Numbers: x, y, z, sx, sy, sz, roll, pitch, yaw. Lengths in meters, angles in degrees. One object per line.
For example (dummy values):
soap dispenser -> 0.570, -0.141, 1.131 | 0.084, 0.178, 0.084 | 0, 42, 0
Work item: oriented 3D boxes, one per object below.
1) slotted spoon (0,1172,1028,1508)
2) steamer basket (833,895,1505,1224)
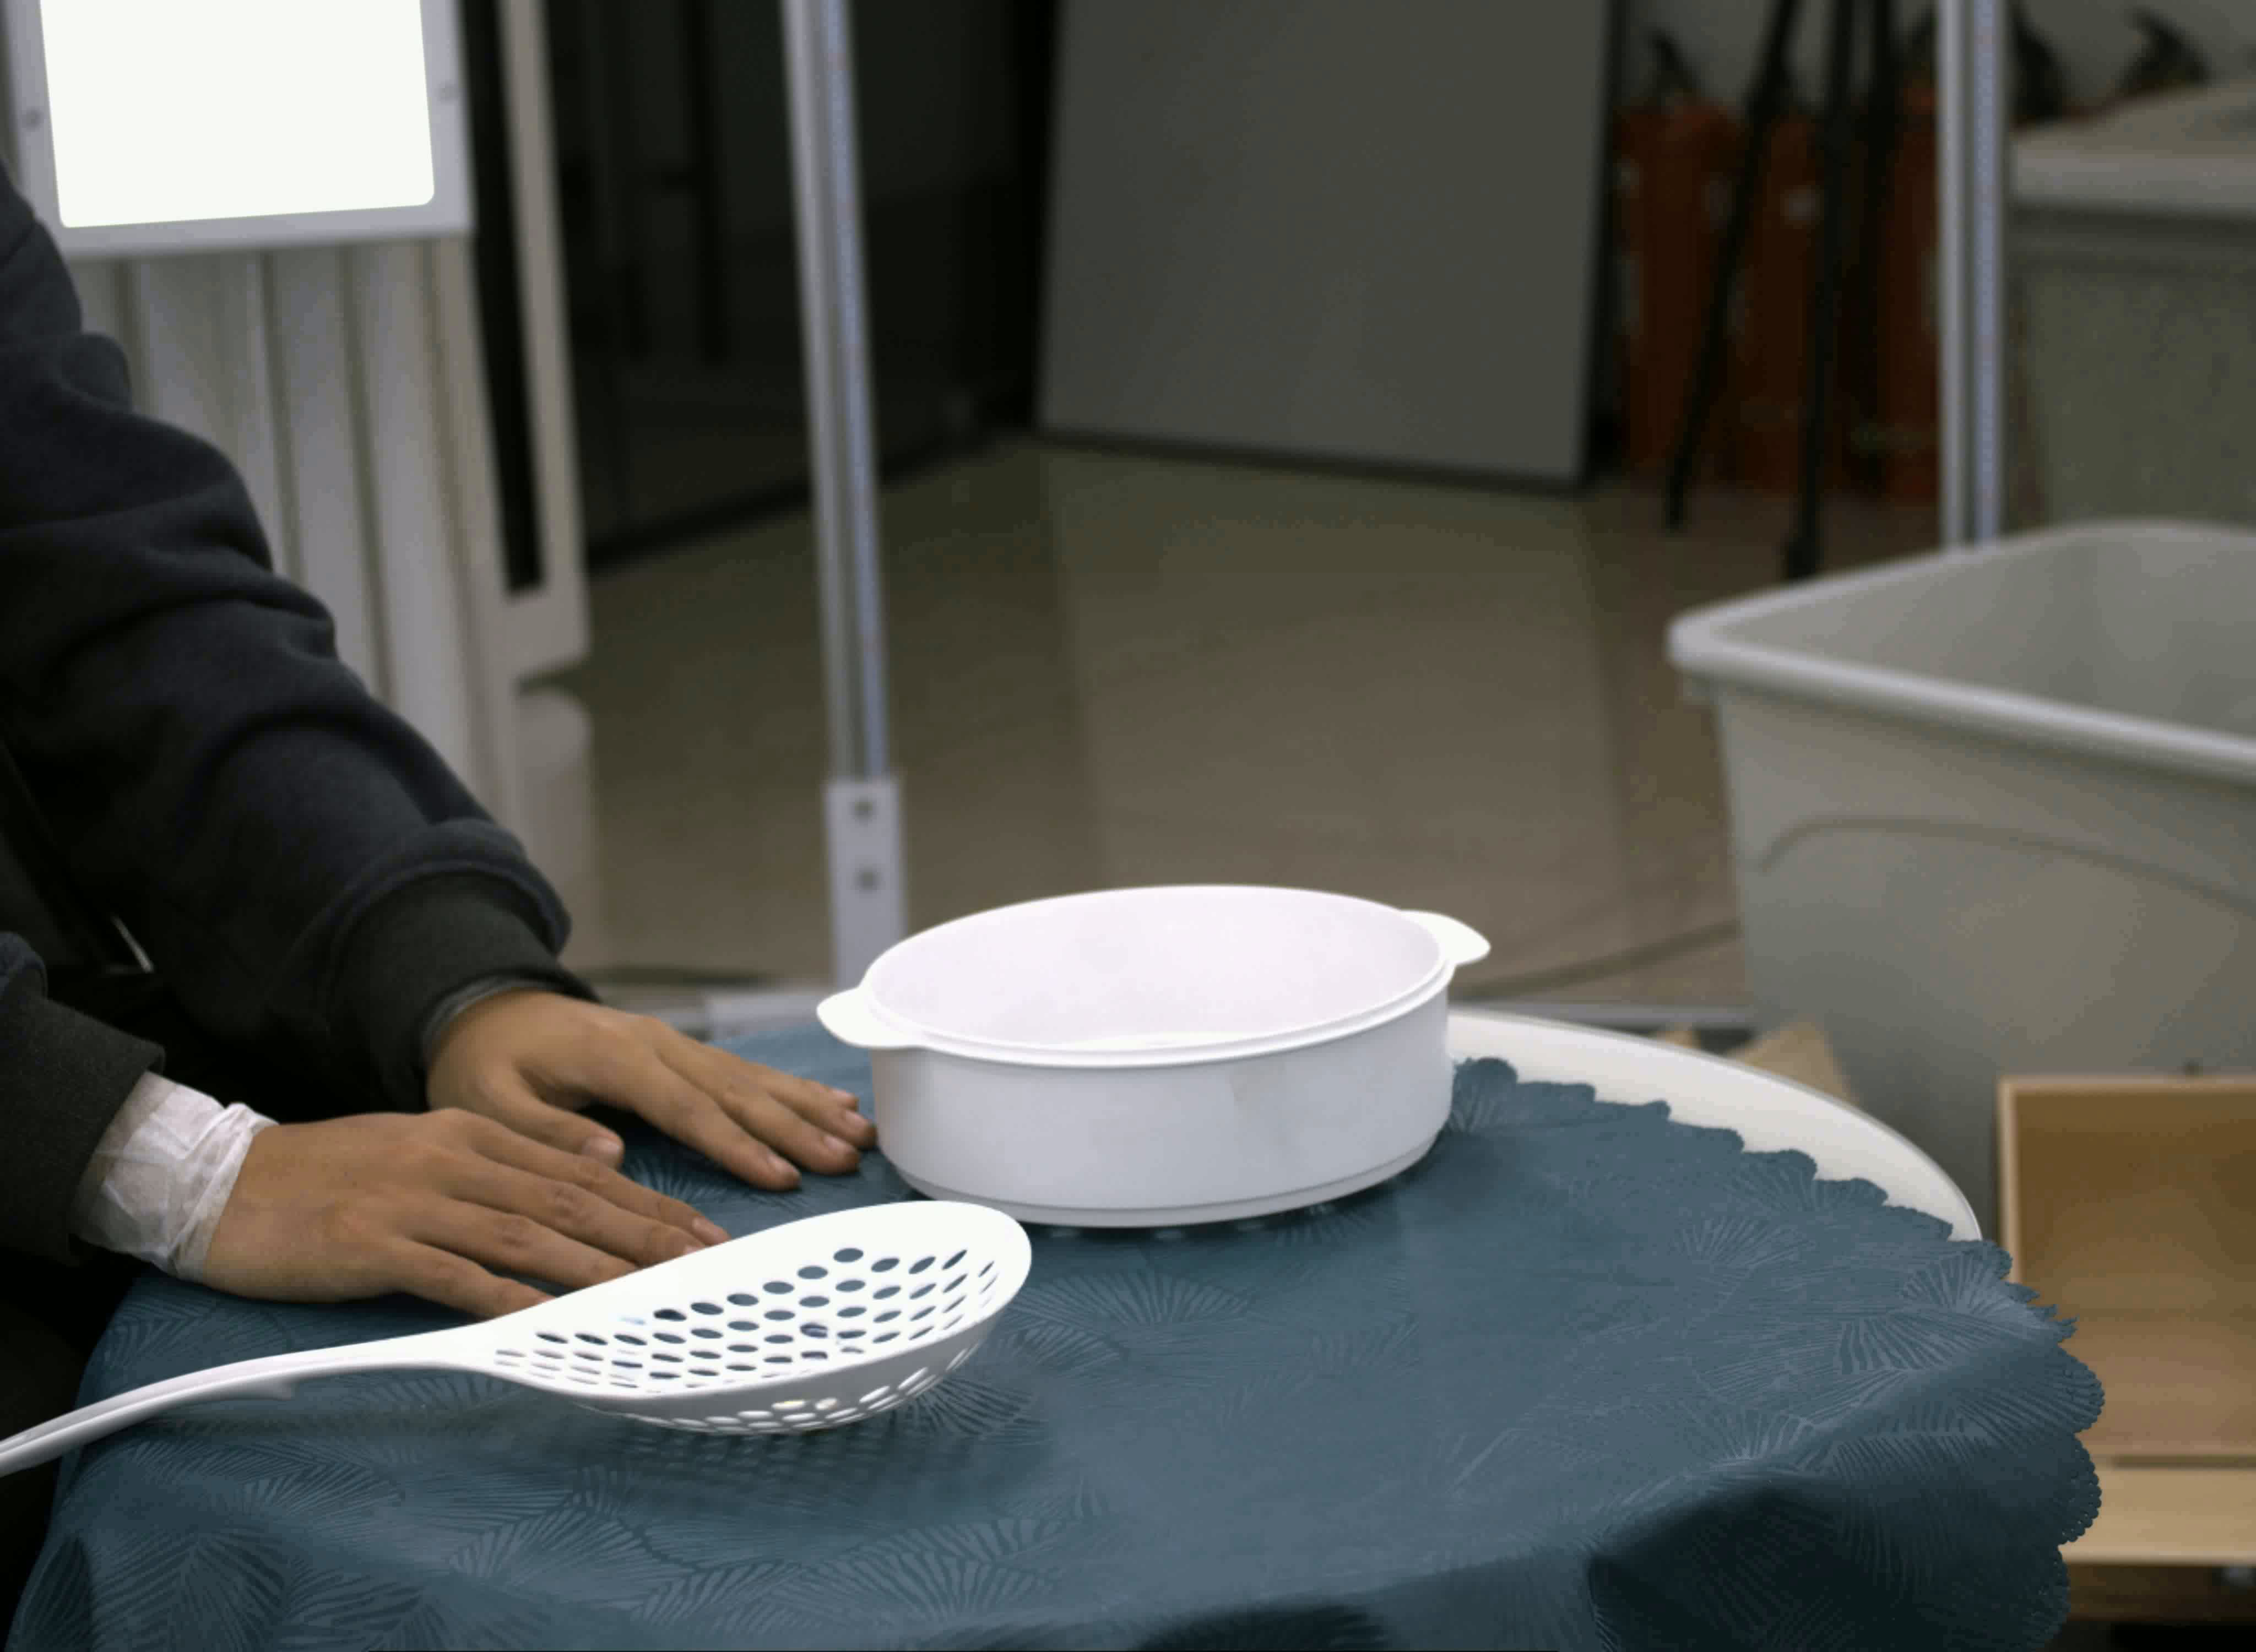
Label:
slotted spoon -> -0.195, 0.165, 1.594 | 0.345, 0.051, 0.137 | -7, 18, 8
steamer basket -> 0.016, 0.078, 1.800 | 0.226, 0.070, 0.203 | -6, 13, -17
